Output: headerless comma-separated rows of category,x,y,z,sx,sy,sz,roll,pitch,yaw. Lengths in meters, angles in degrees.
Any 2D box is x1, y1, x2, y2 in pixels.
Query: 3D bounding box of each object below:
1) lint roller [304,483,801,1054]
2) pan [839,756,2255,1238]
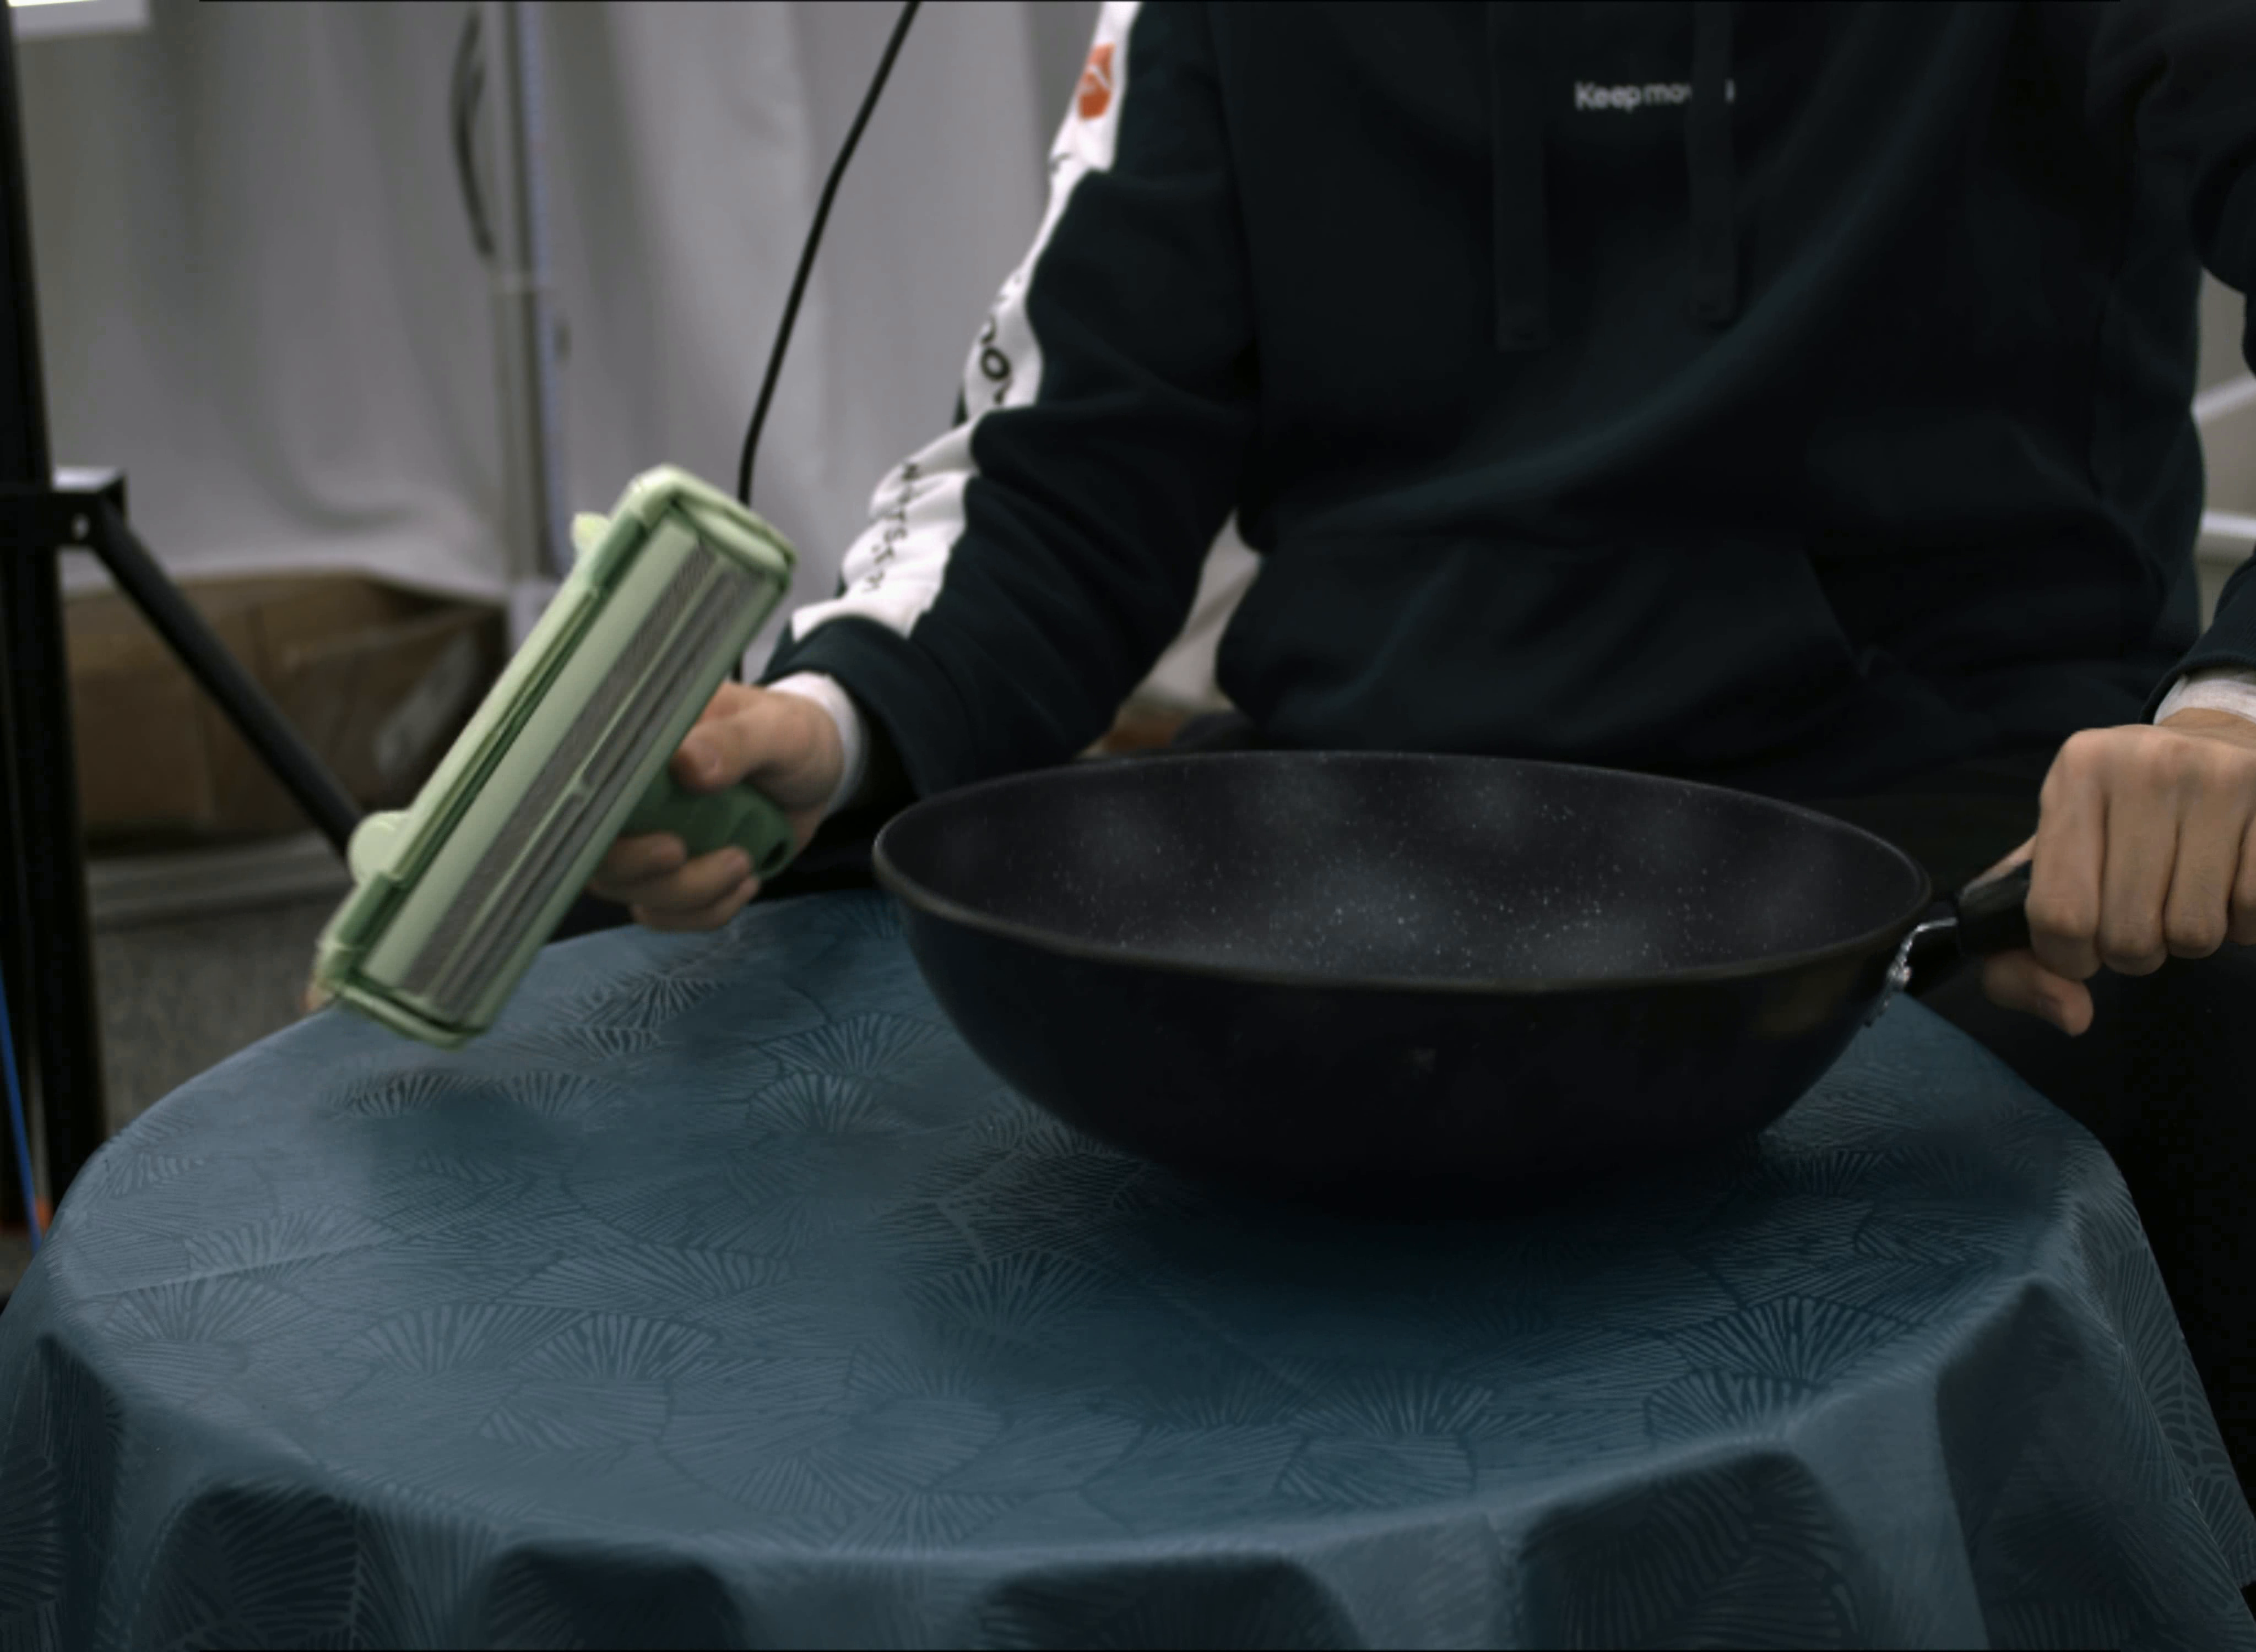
lint roller,-0.172,-0.017,1.729,0.083,0.199,0.180,40,7,16
pan,0.153,0.045,1.542,0.477,0.112,0.310,1,14,5
